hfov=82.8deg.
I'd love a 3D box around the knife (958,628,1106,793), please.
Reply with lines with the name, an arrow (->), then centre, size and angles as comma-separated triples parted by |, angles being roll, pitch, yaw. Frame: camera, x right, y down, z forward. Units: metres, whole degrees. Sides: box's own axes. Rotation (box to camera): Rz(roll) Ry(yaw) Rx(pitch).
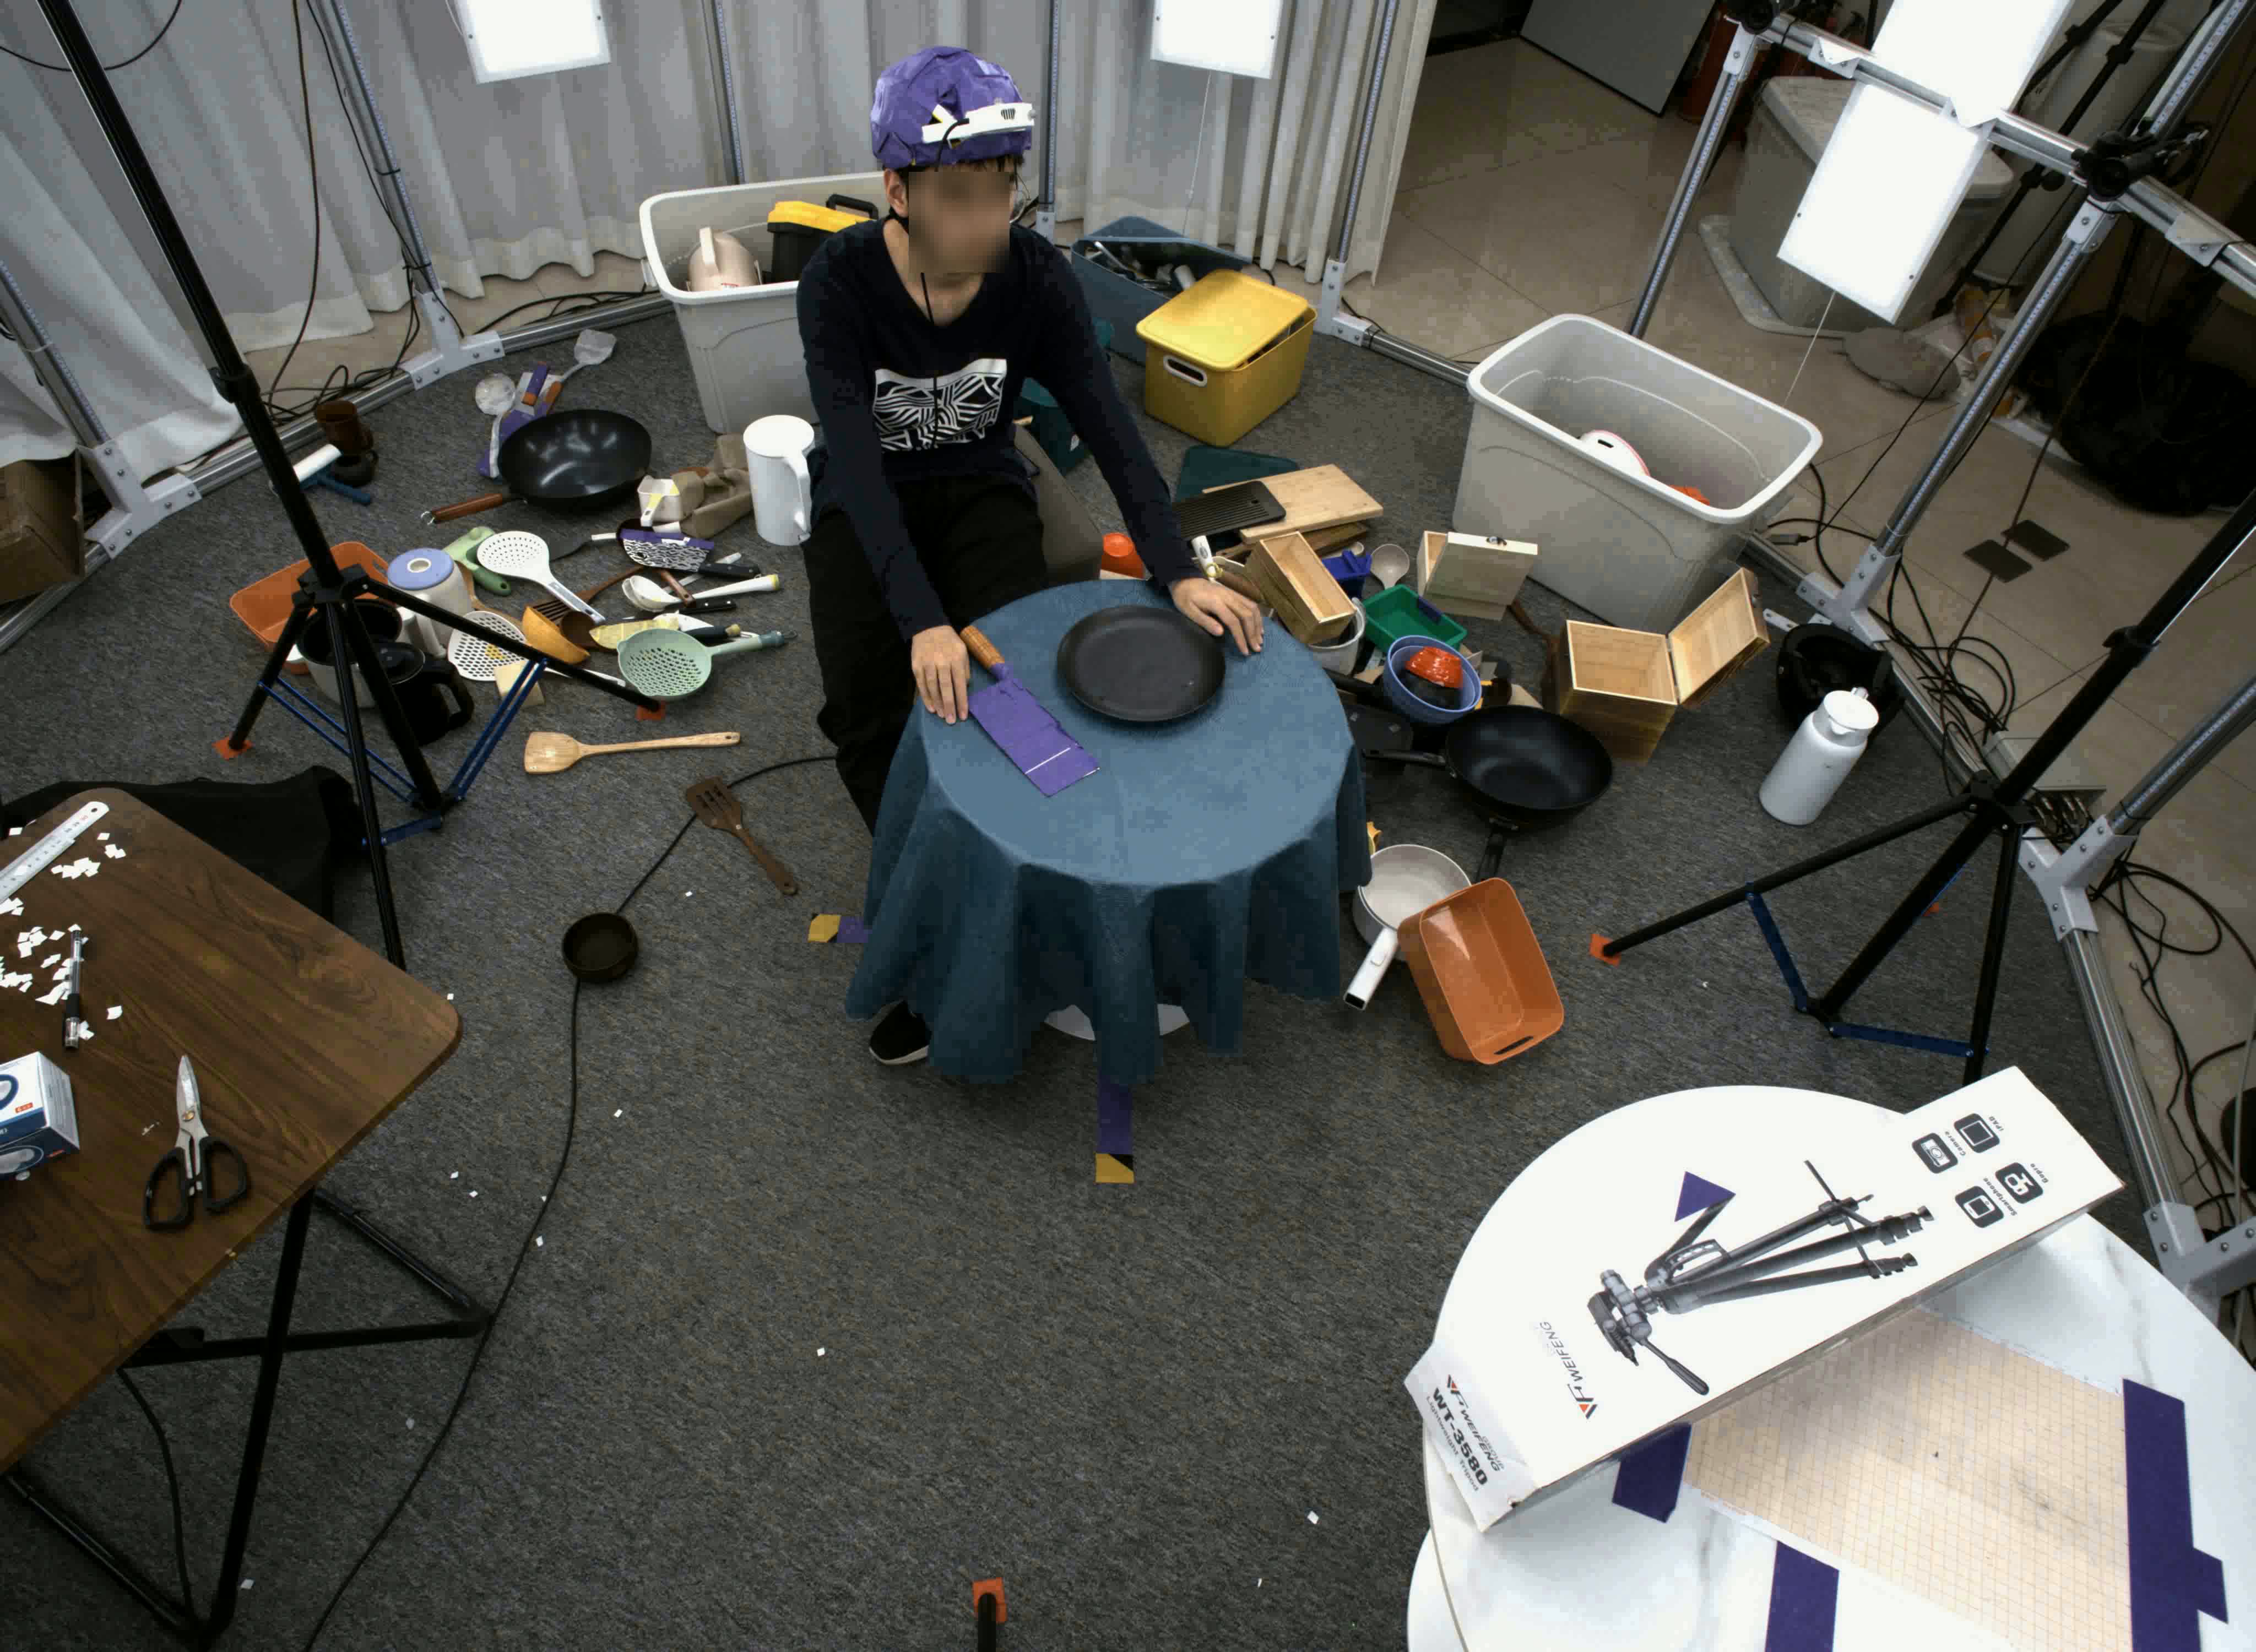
knife -> -0.163, -0.164, 1.781 | 0.104, 0.031, 0.321 | -28, 57, -26

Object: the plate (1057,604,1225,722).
plate -> 0.018, -0.233, 1.856 | 0.244, 0.023, 0.250 | 2, 49, -3
